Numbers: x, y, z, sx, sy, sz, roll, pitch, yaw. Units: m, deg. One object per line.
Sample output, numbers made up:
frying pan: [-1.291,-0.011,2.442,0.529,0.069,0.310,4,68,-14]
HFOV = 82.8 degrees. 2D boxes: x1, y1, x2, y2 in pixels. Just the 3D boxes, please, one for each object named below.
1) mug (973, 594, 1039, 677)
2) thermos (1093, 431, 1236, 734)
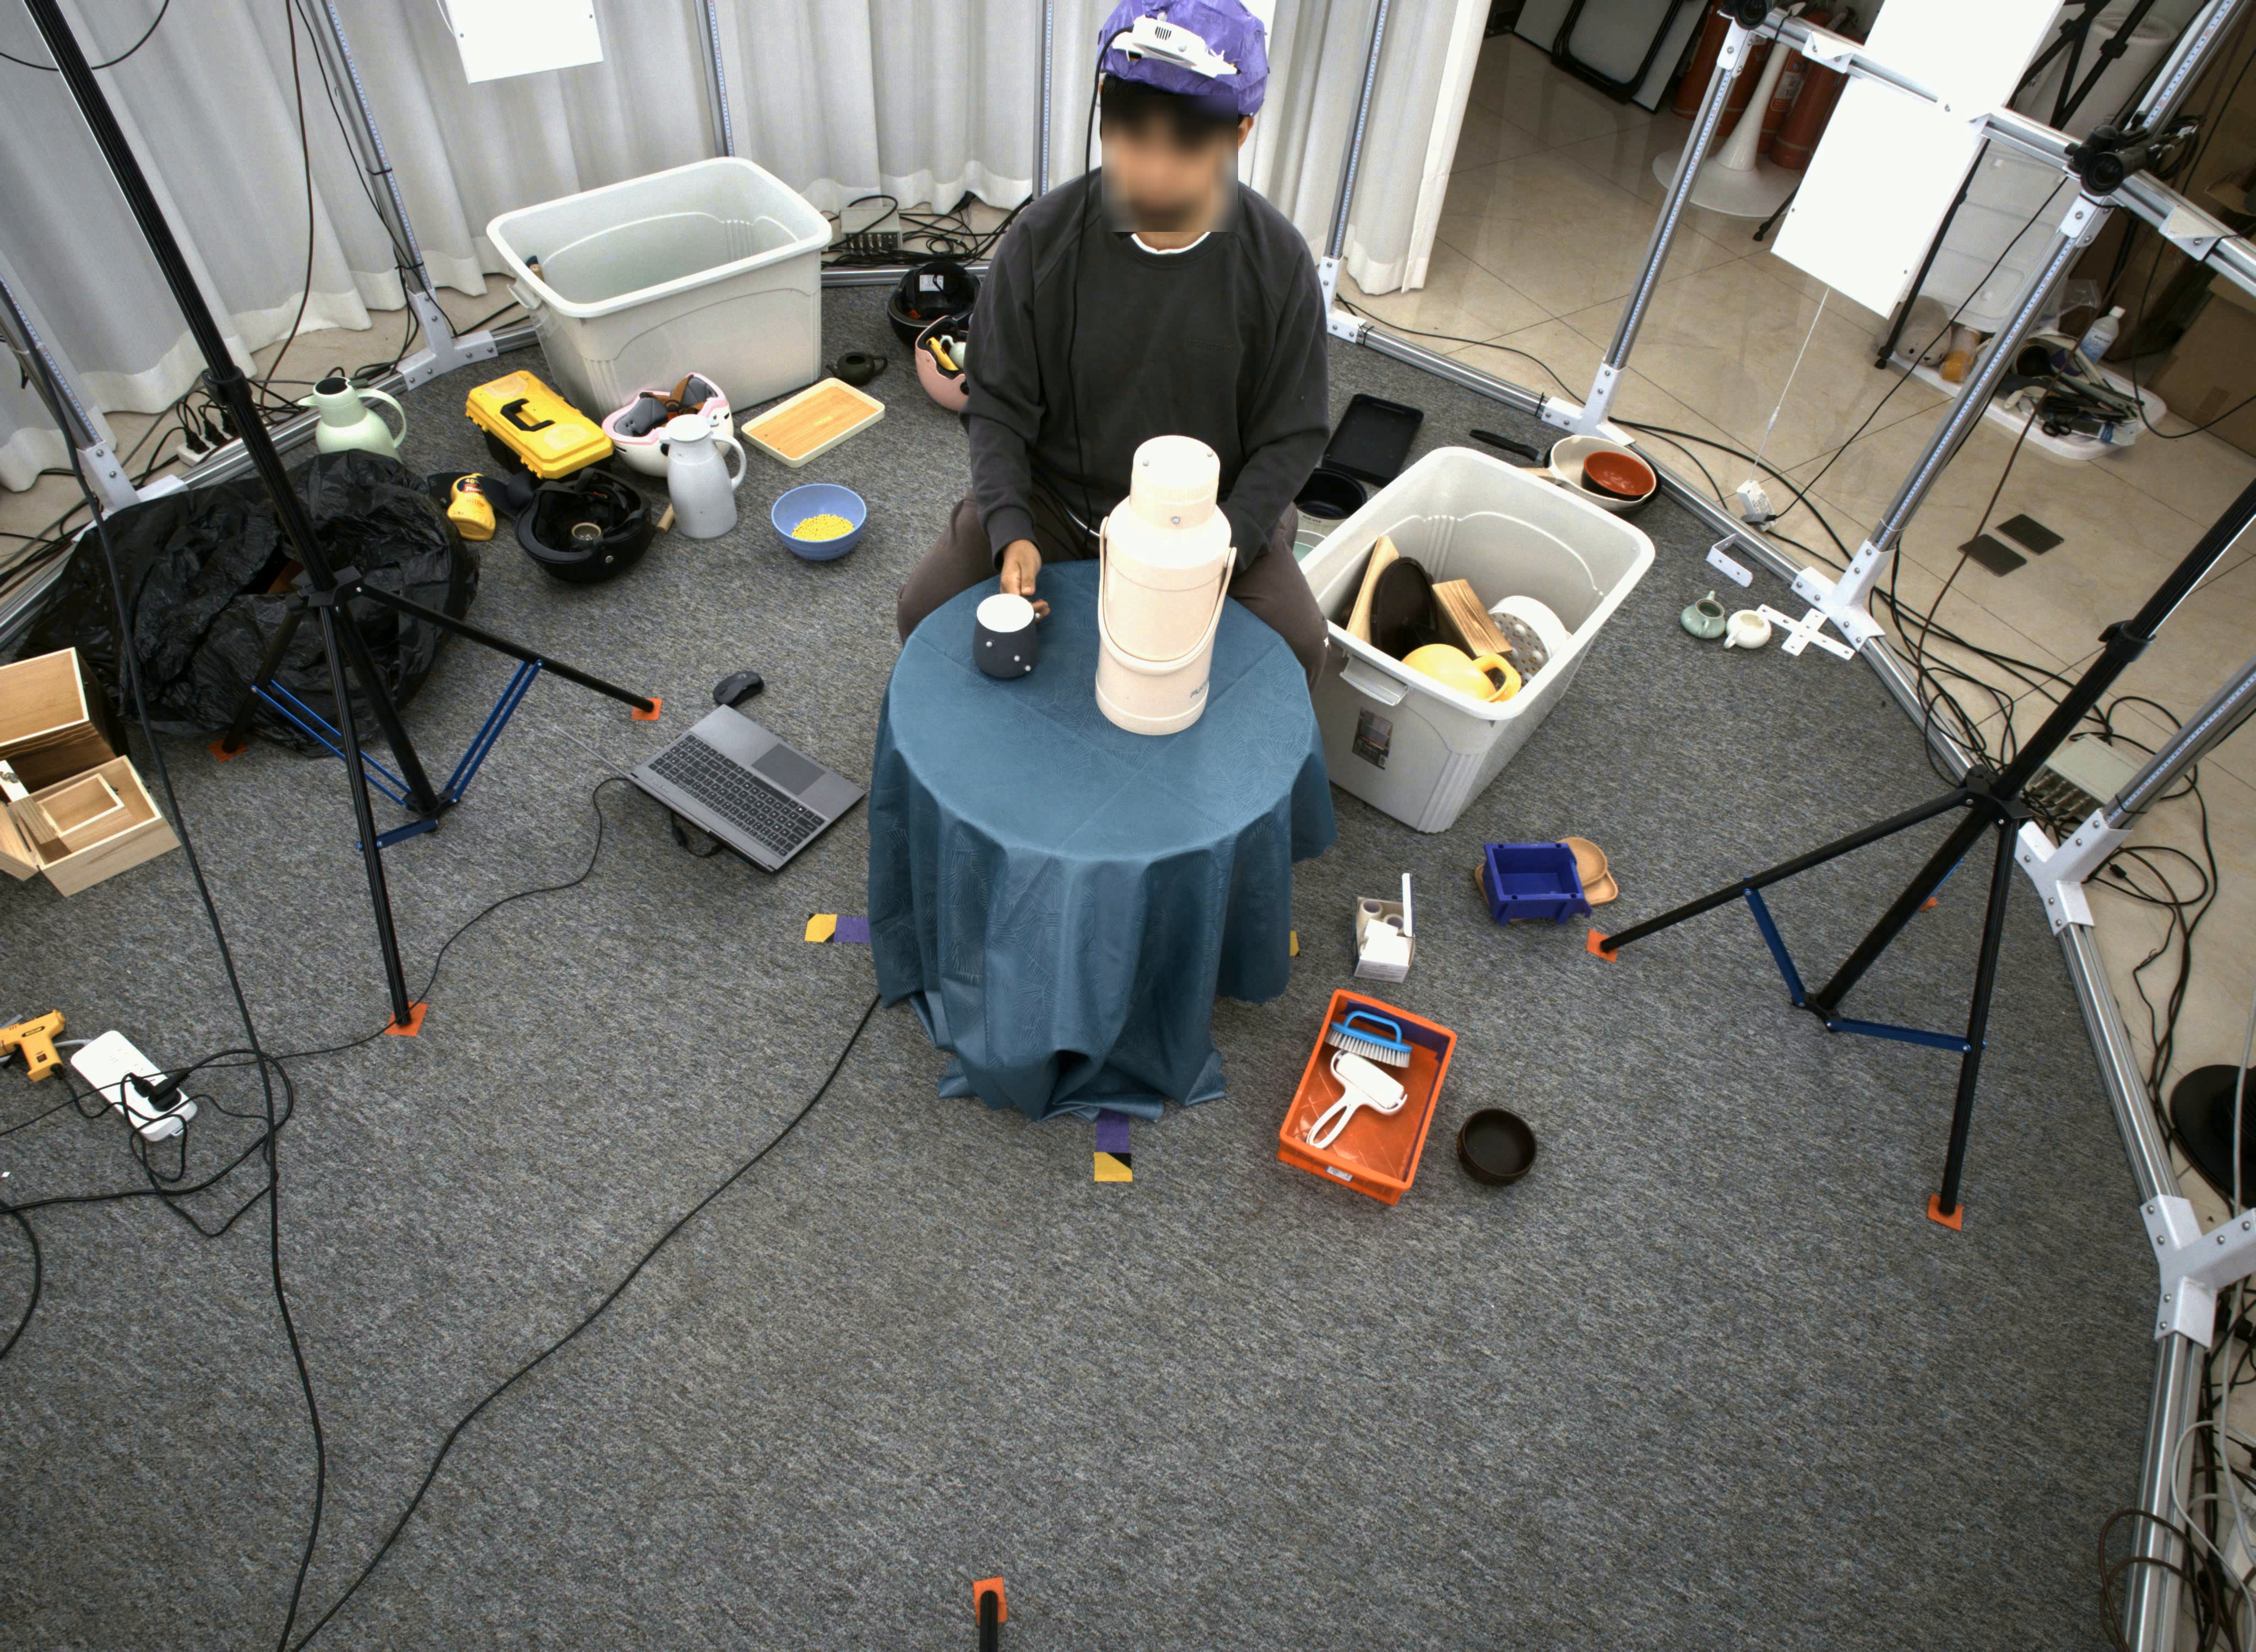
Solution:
mug: [-0.166,-0.280,1.837,0.094,0.088,0.125,22,51,14]
thermos: [0.050,-0.323,1.694,0.176,0.396,0.211,15,50,8]
